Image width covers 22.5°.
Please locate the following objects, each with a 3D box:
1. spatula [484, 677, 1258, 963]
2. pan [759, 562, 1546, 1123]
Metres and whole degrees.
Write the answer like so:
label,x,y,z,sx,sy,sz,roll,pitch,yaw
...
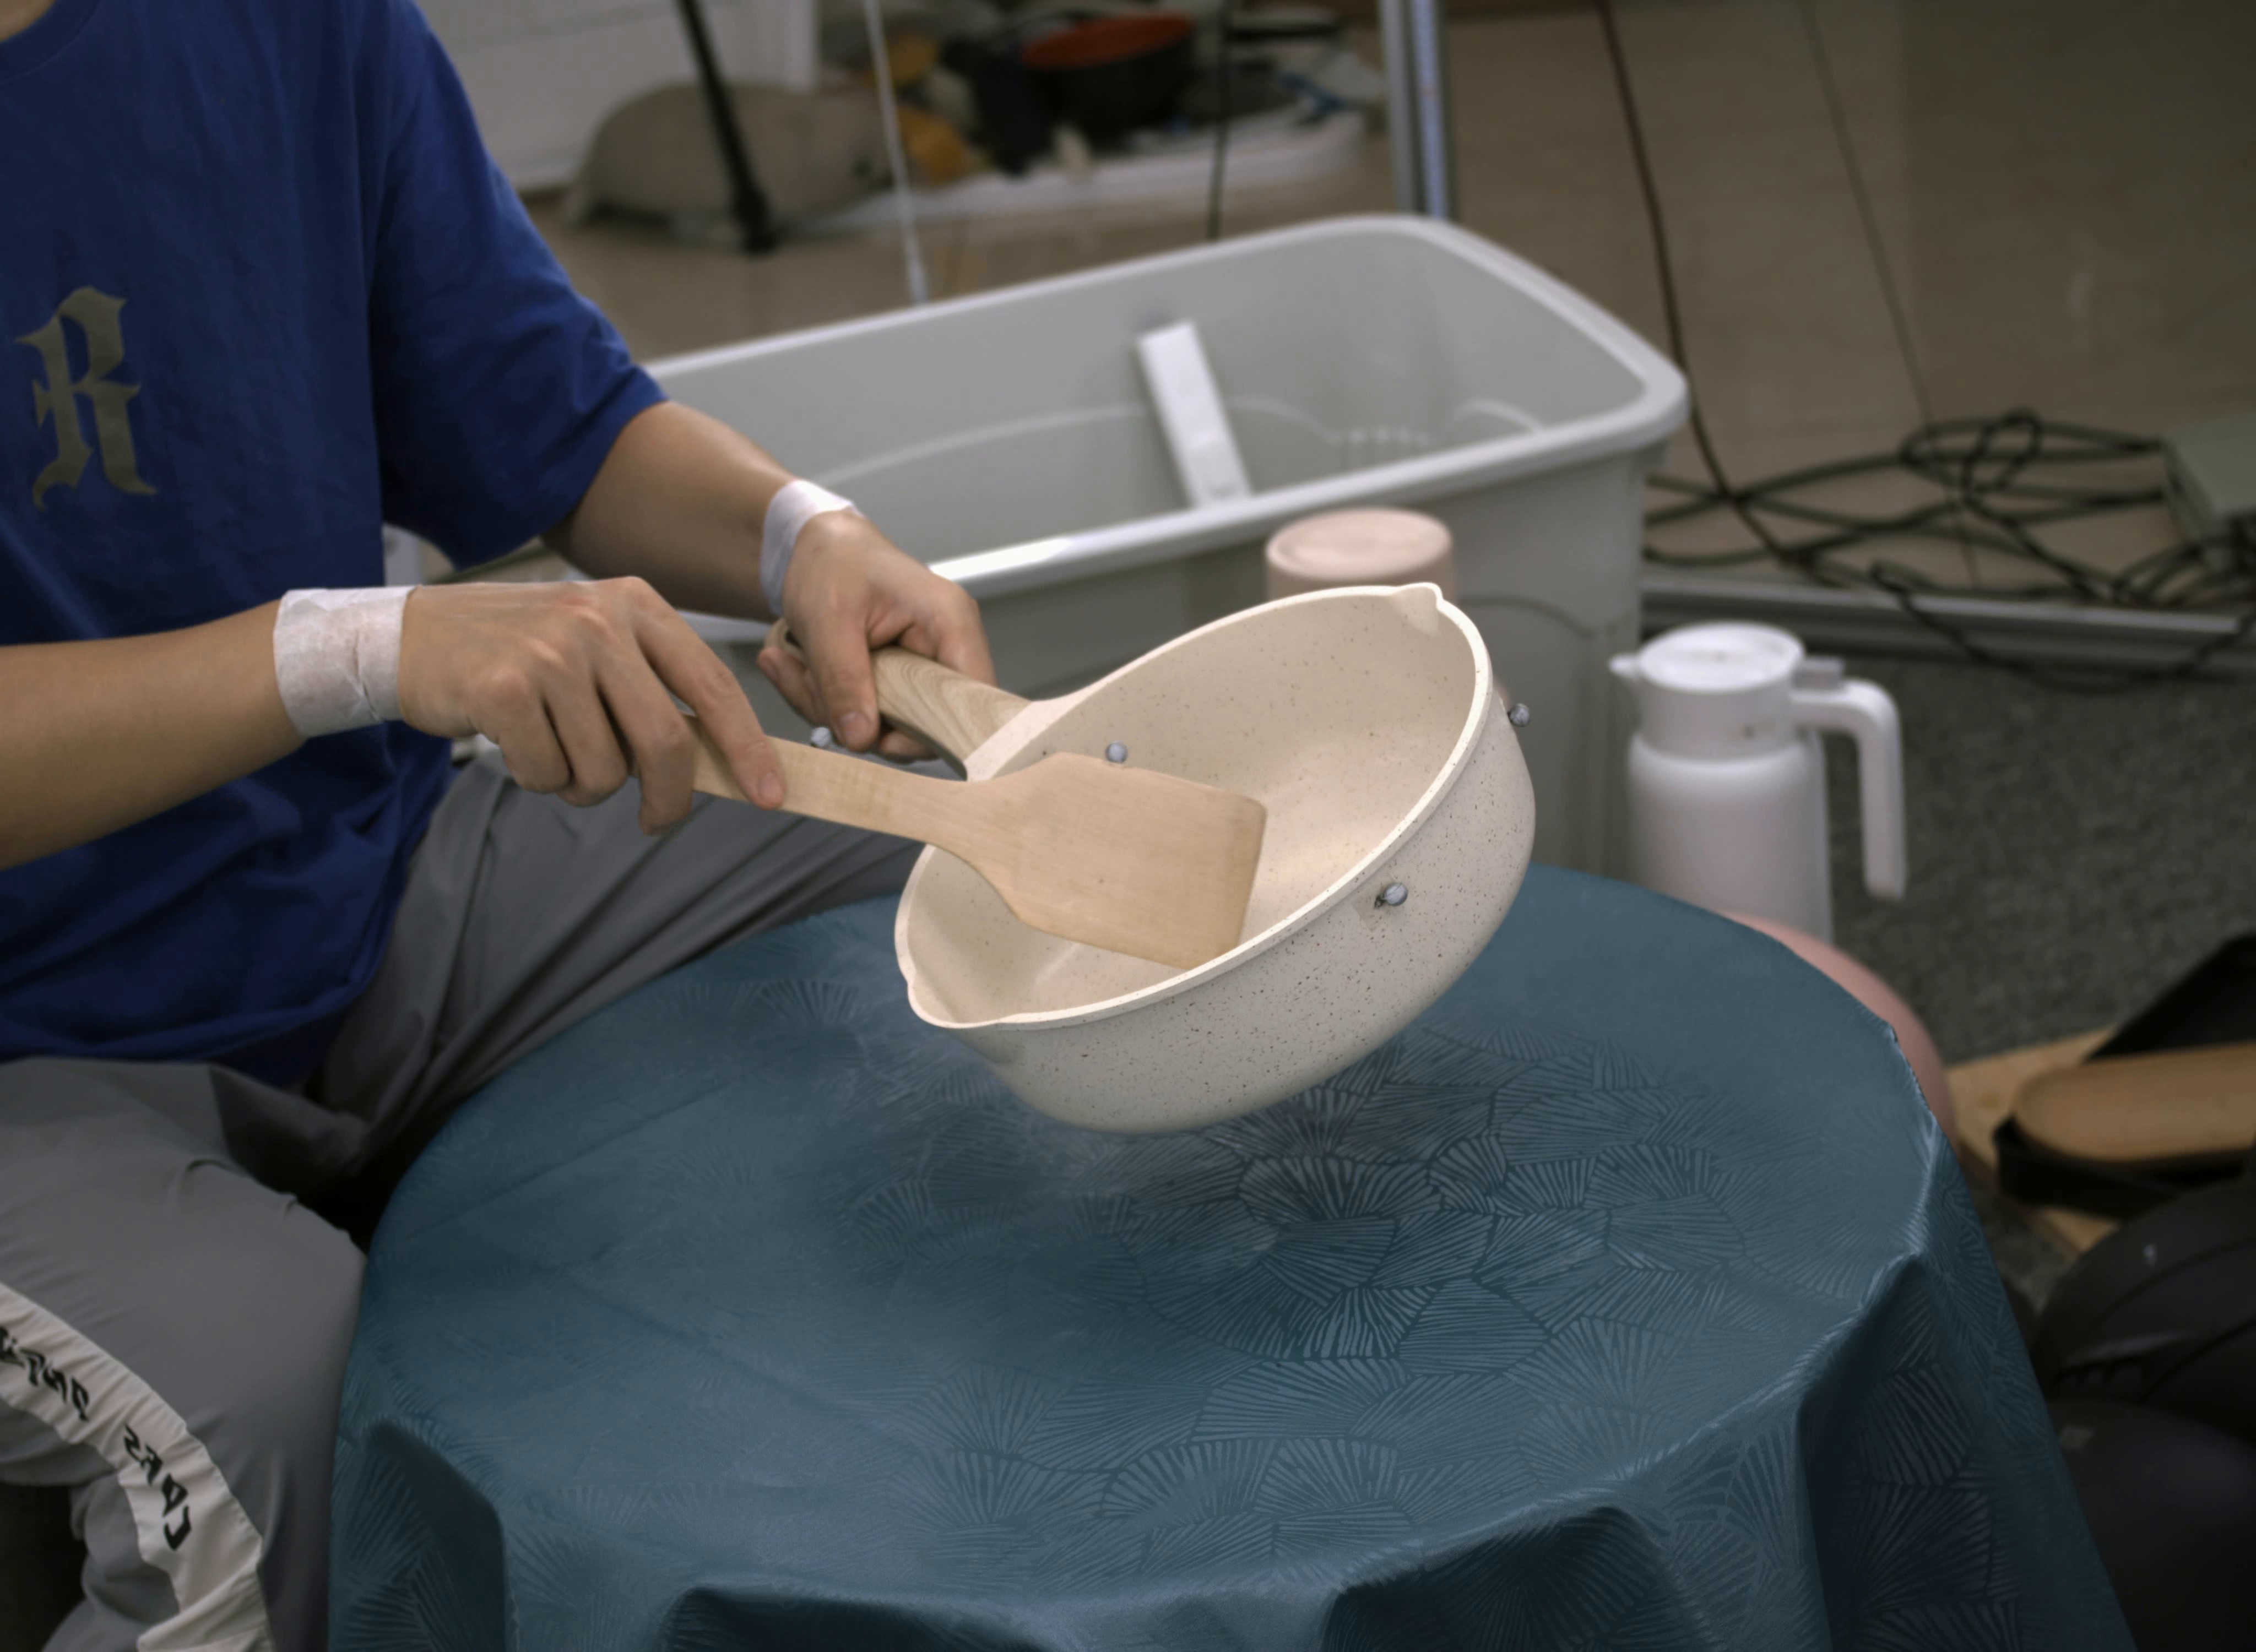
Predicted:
label,x,y,z,sx,sy,sz,roll,pitch,yaw
spatula,-0.097,-0.012,2.119,0.293,0.072,0.010,14,-4,-4
pan,-0.008,-0.007,2.208,0.261,0.103,0.432,-44,29,-18
